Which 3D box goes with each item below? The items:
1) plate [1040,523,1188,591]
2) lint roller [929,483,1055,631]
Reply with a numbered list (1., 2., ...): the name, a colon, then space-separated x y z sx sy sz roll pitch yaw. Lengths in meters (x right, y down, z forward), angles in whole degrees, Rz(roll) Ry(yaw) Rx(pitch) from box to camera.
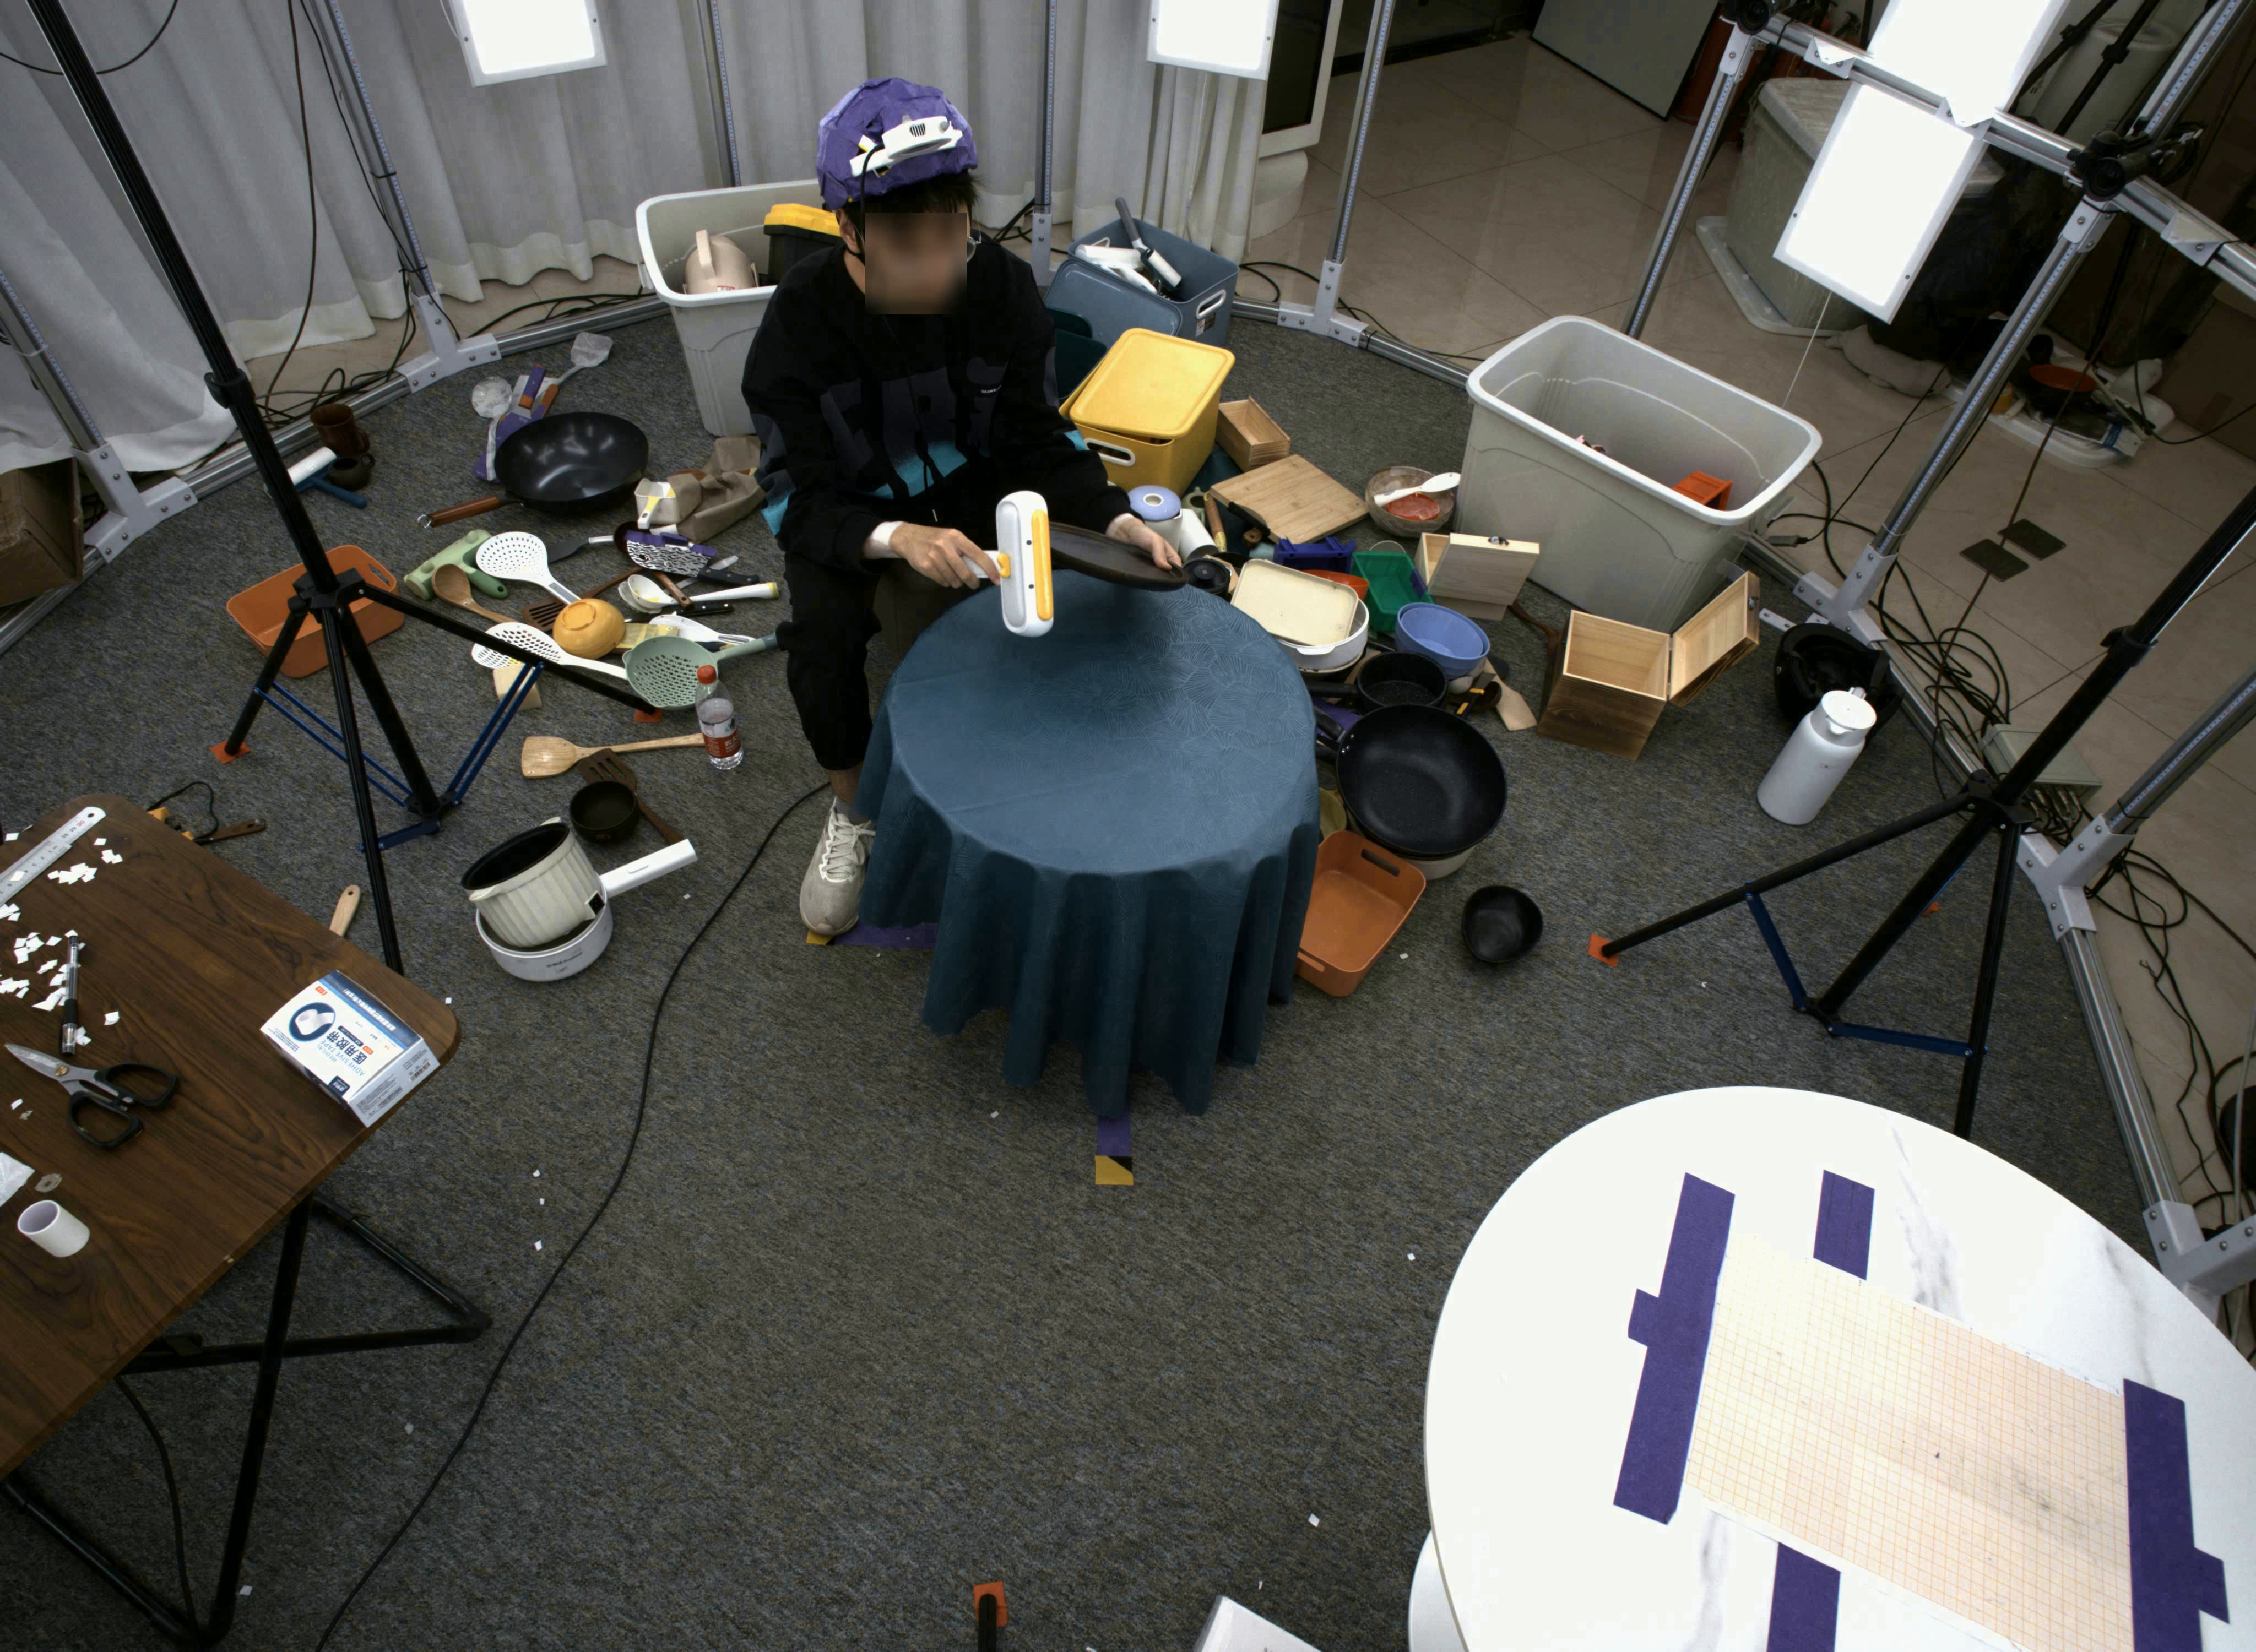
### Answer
1. plate: -0.038 -0.382 1.824 0.254 0.028 0.259 15 19 -5
2. lint roller: -0.187 -0.358 1.751 0.193 0.190 0.074 4 20 41
